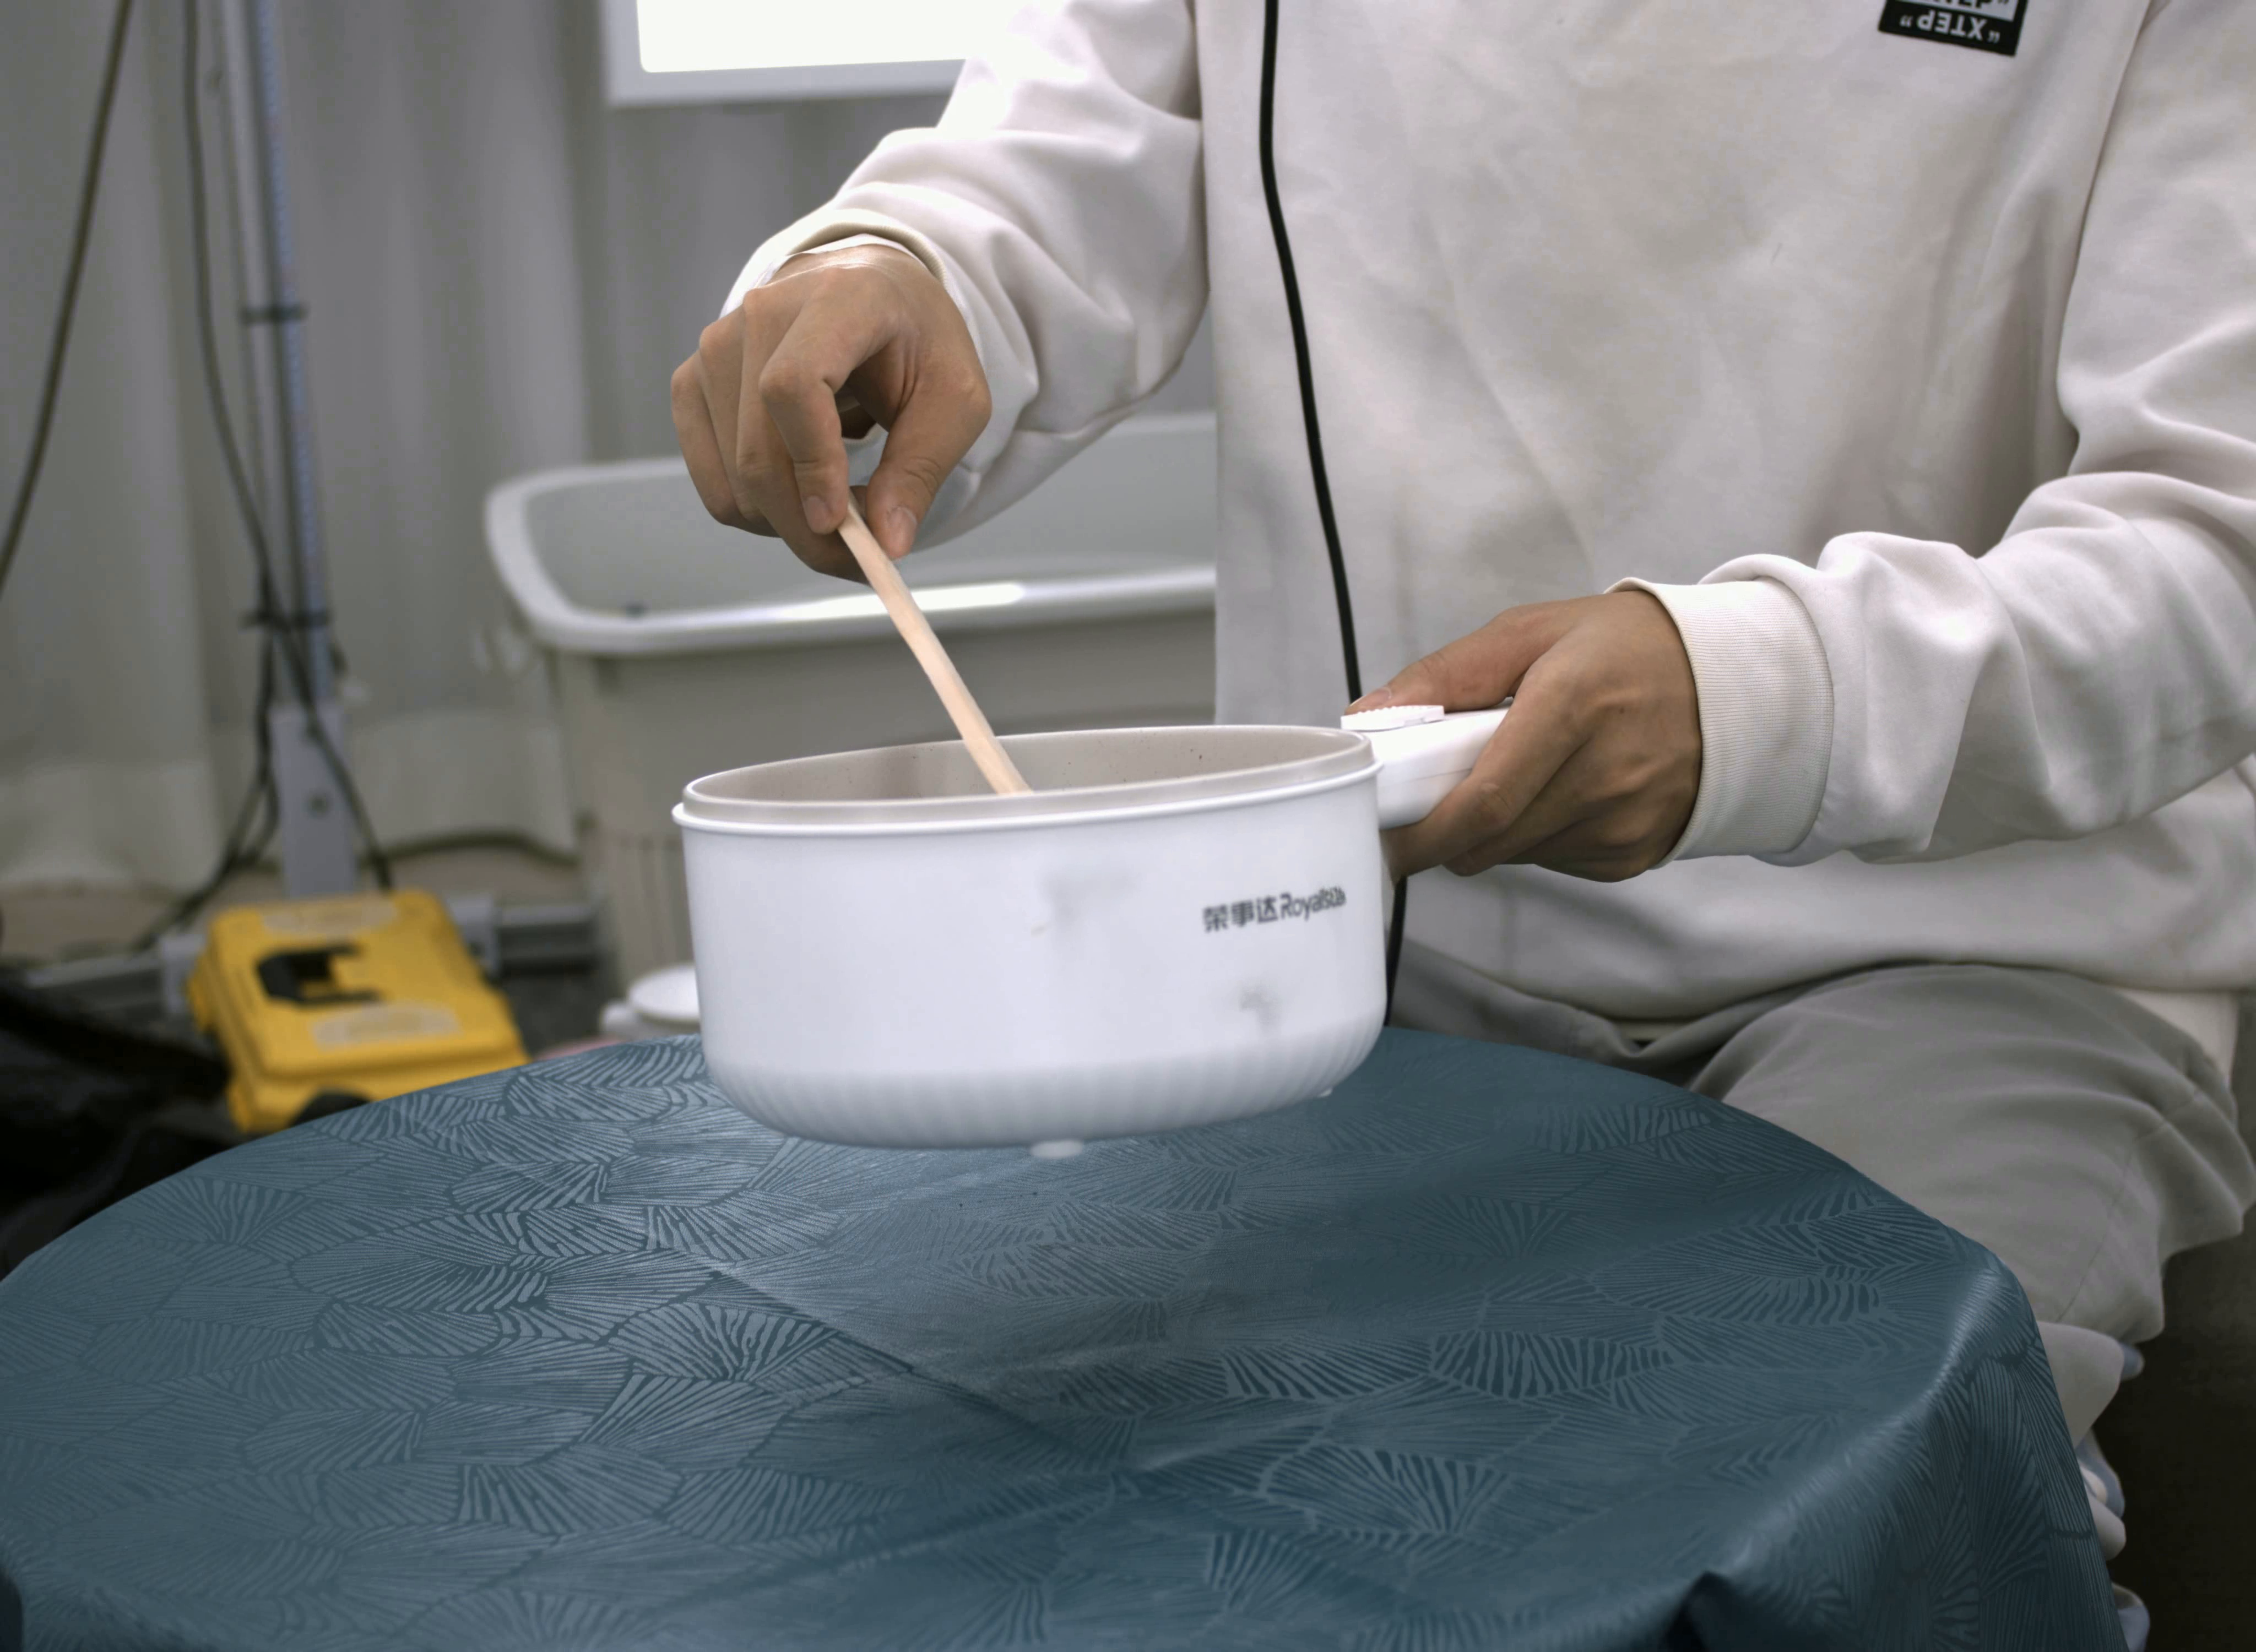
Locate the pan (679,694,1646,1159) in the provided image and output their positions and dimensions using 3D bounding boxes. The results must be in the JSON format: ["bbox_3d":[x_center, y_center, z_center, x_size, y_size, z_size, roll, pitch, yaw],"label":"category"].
[{"bbox_3d":[0.028,0.024,1.601,0.202,0.102,0.353,0,6,43],"label":"pan"}]

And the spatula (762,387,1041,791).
[{"bbox_3d":[-0.060,-0.056,1.631,0.010,0.071,0.297,-37,39,3],"label":"spatula"}]
